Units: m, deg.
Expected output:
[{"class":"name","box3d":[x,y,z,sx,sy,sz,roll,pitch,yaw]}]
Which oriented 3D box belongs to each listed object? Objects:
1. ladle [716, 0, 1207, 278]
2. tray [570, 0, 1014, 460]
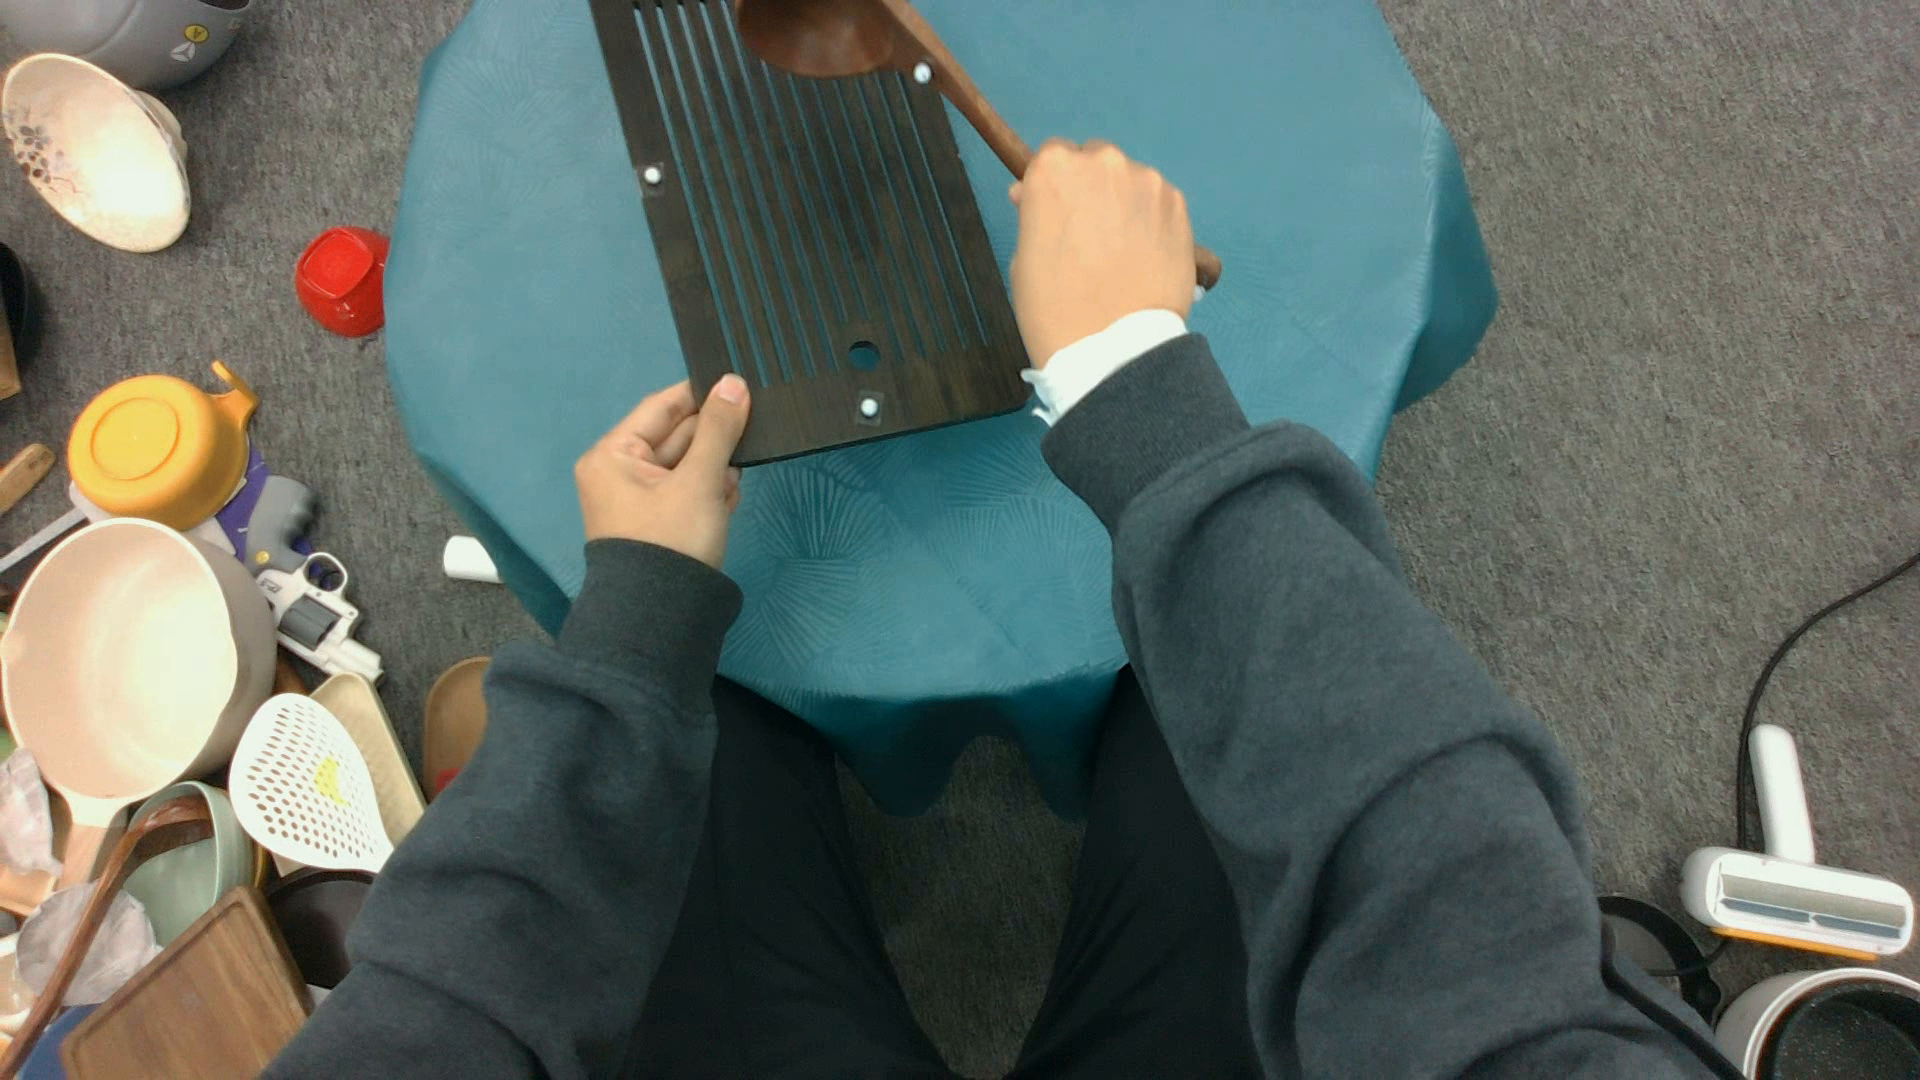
[{"class":"ladle","box3d":[-0.003,-0.190,0.634,0.260,0.076,0.065,42,73,8]},{"class":"tray","box3d":[-0.093,-0.193,0.719,0.170,0.018,0.306,-13,74,-15]}]
